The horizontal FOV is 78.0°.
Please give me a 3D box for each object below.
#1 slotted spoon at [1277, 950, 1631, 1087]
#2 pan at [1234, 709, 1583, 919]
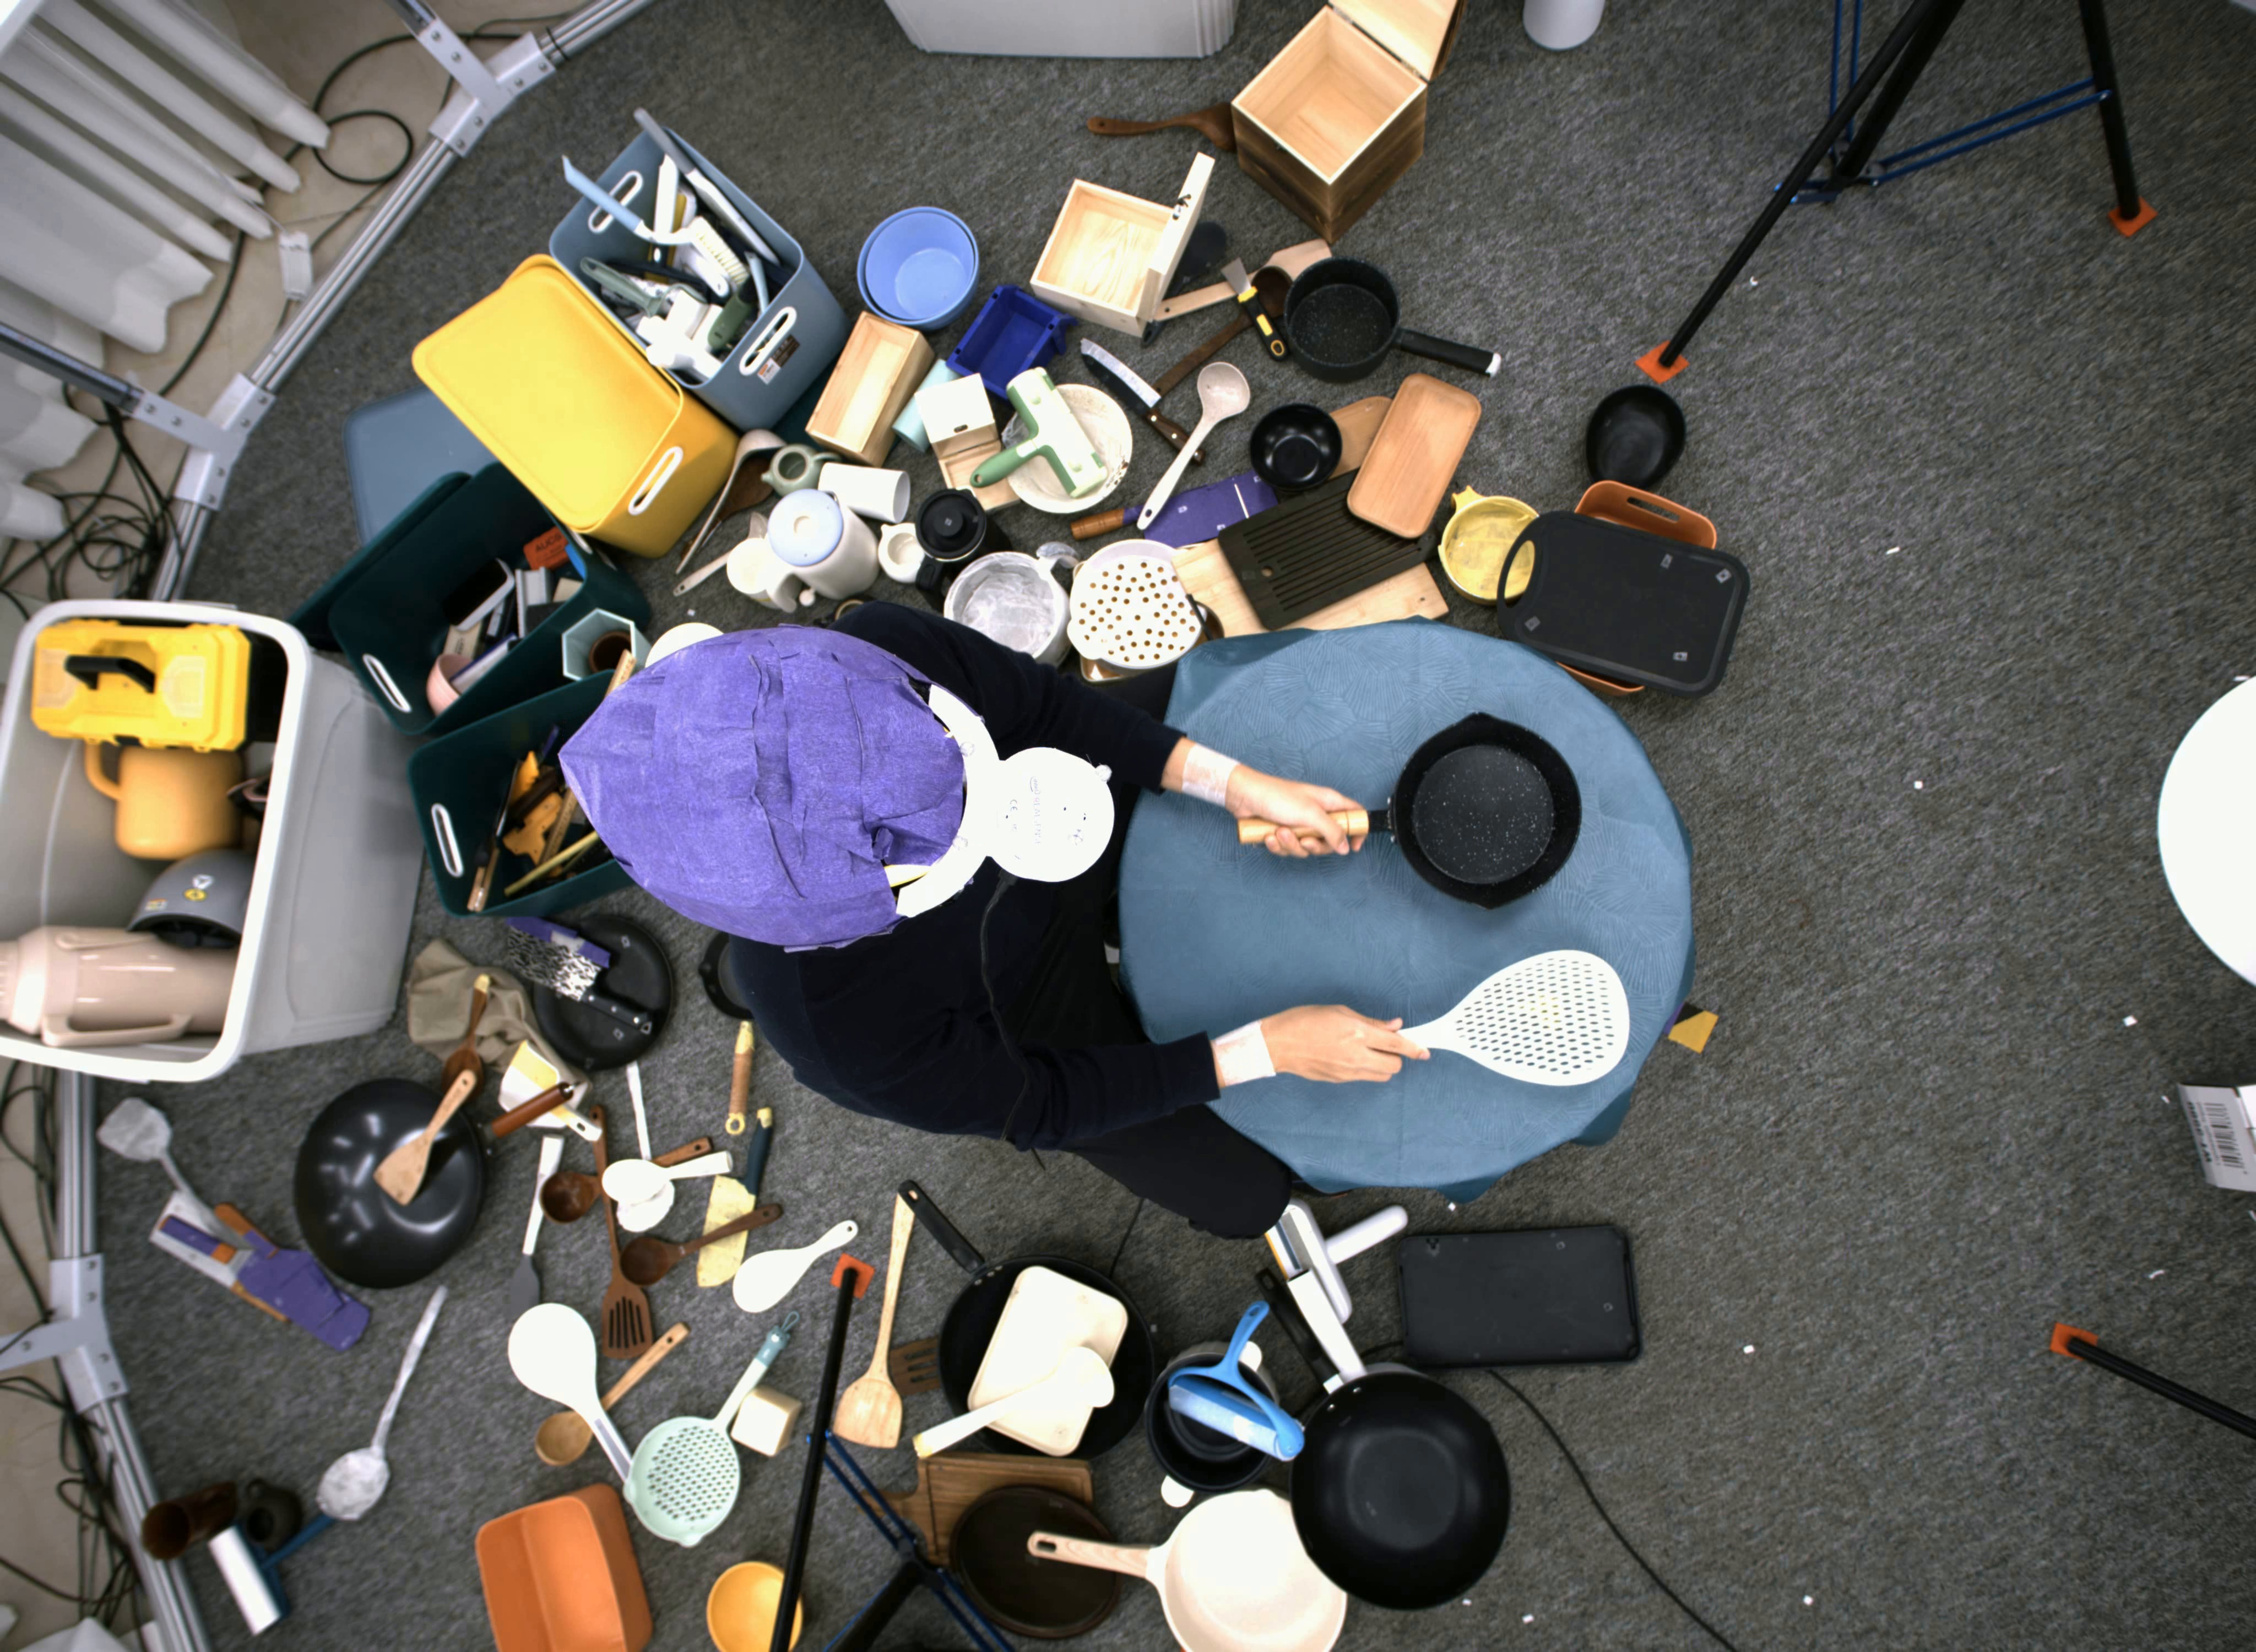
[{"bbox_3d":[0.319,0.206,1.375,0.349,0.050,0.137,-11,98,7],"label":"slotted spoon"},{"bbox_3d":[0.283,-0.006,1.405,0.344,0.107,0.207,-6,91,12],"label":"pan"}]
